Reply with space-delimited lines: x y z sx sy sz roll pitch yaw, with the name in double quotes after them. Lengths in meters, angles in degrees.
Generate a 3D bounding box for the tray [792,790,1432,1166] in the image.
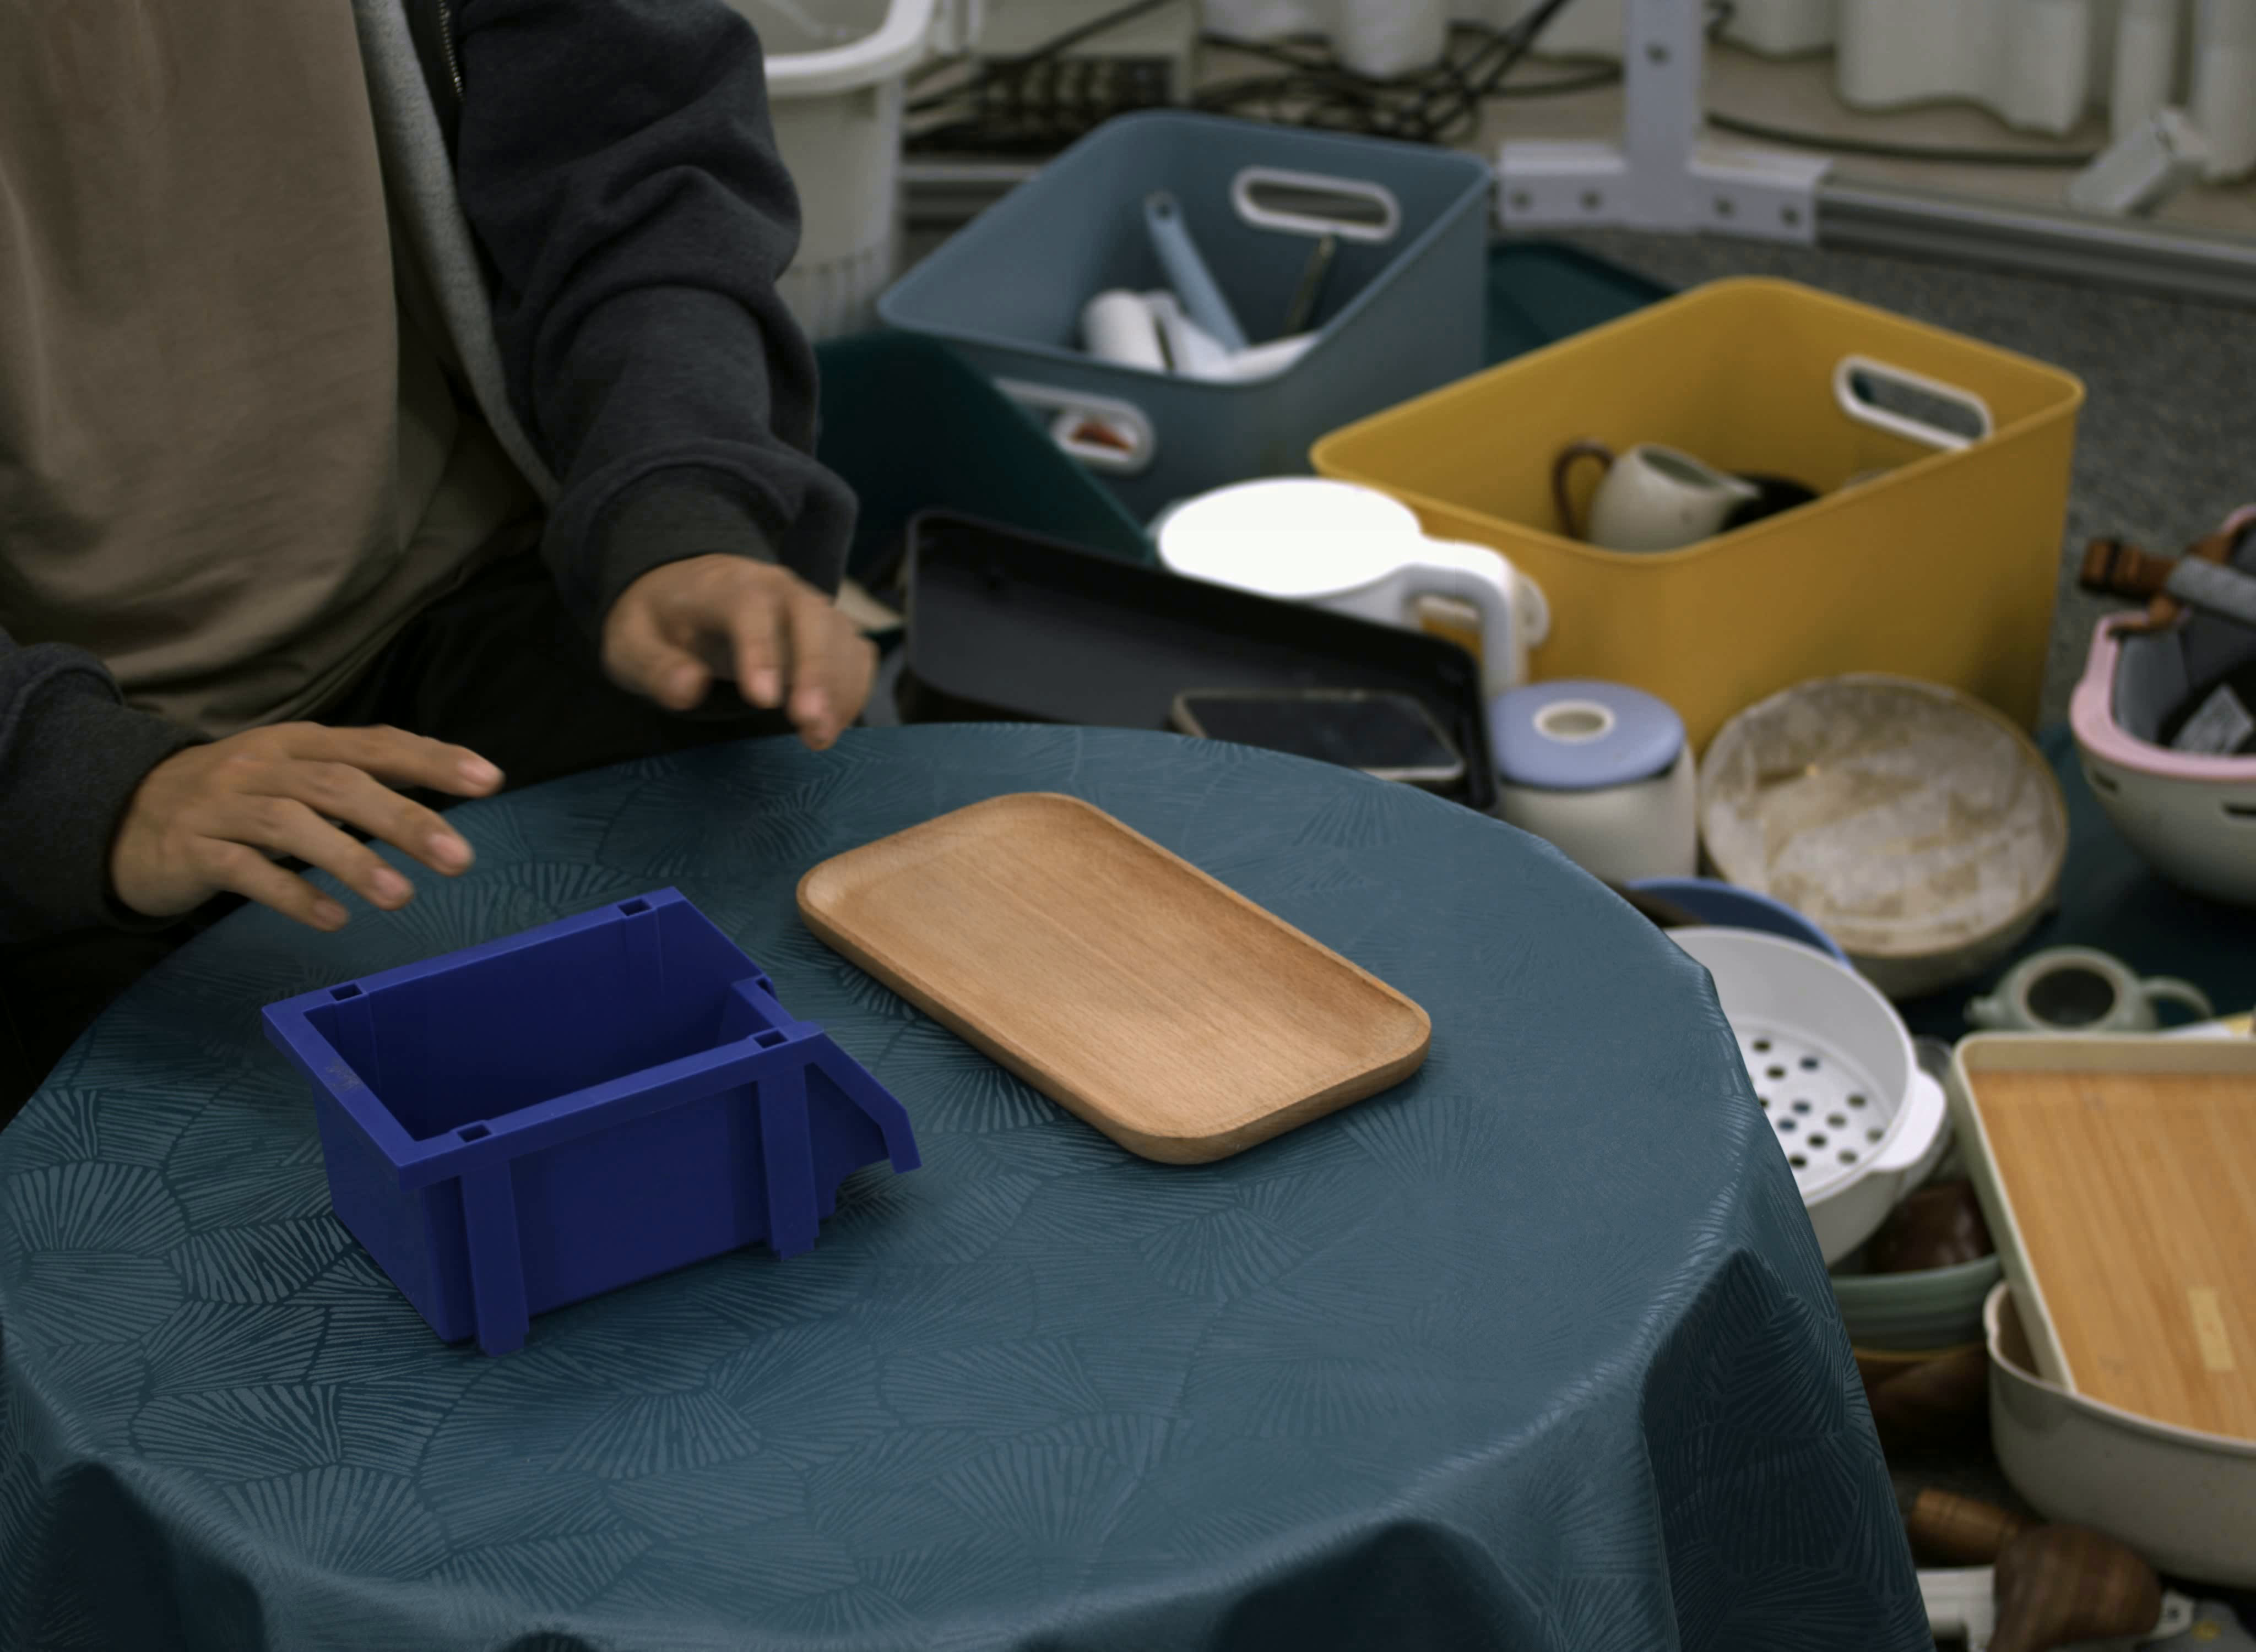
-0.009 0.051 1.980 0.131 0.022 0.251 -18 30 -31 "tray"

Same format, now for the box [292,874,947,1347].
-0.168 0.090 1.853 0.180 0.081 0.125 -19 30 -21 "box"
